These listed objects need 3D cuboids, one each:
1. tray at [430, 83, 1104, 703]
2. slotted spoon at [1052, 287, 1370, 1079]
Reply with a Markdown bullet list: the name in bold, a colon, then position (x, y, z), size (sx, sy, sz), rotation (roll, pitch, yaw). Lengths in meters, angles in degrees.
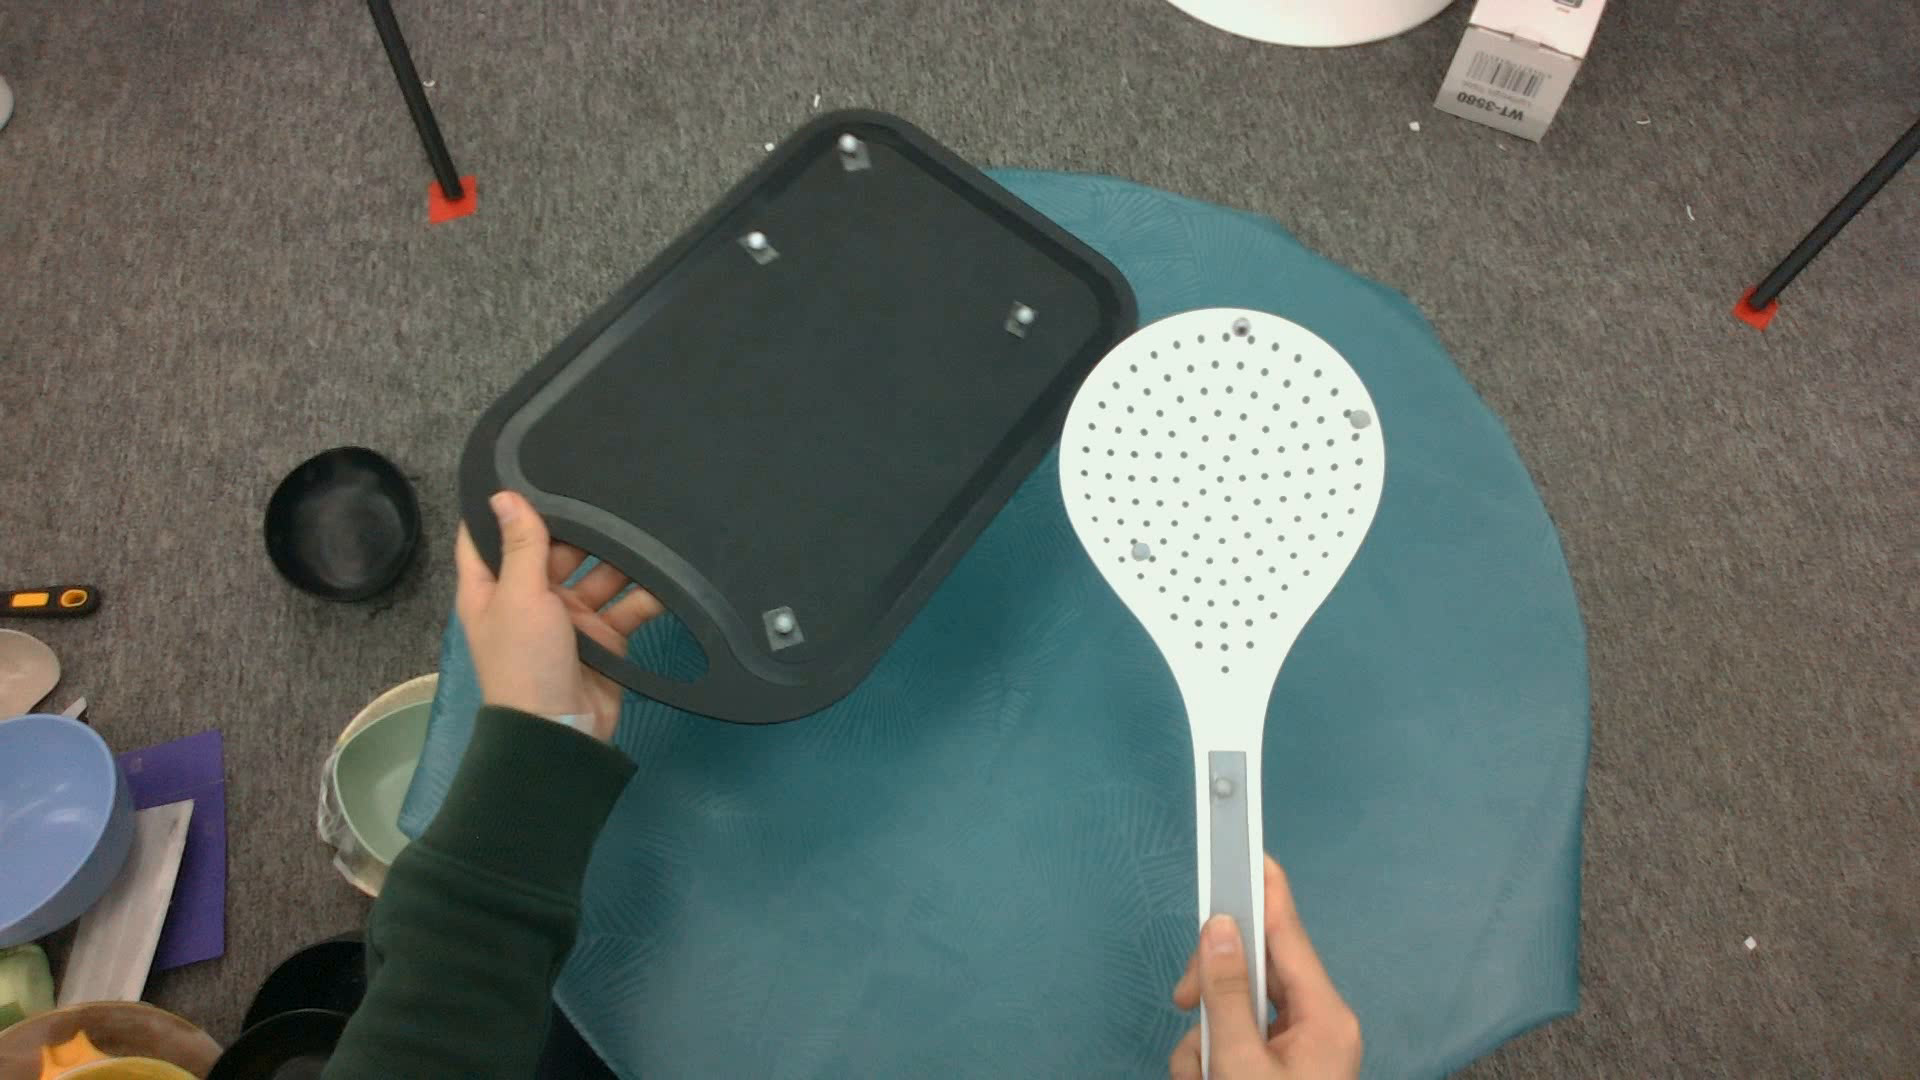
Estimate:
- **tray**: position (-0.083, -0.079, 0.644), size (0.211, 0.010, 0.327), rotation (35, 65, 6)
- **slotted spoon**: position (0.107, 0.063, 0.585), size (0.136, 0.045, 0.350), rotation (-1, 75, 11)
